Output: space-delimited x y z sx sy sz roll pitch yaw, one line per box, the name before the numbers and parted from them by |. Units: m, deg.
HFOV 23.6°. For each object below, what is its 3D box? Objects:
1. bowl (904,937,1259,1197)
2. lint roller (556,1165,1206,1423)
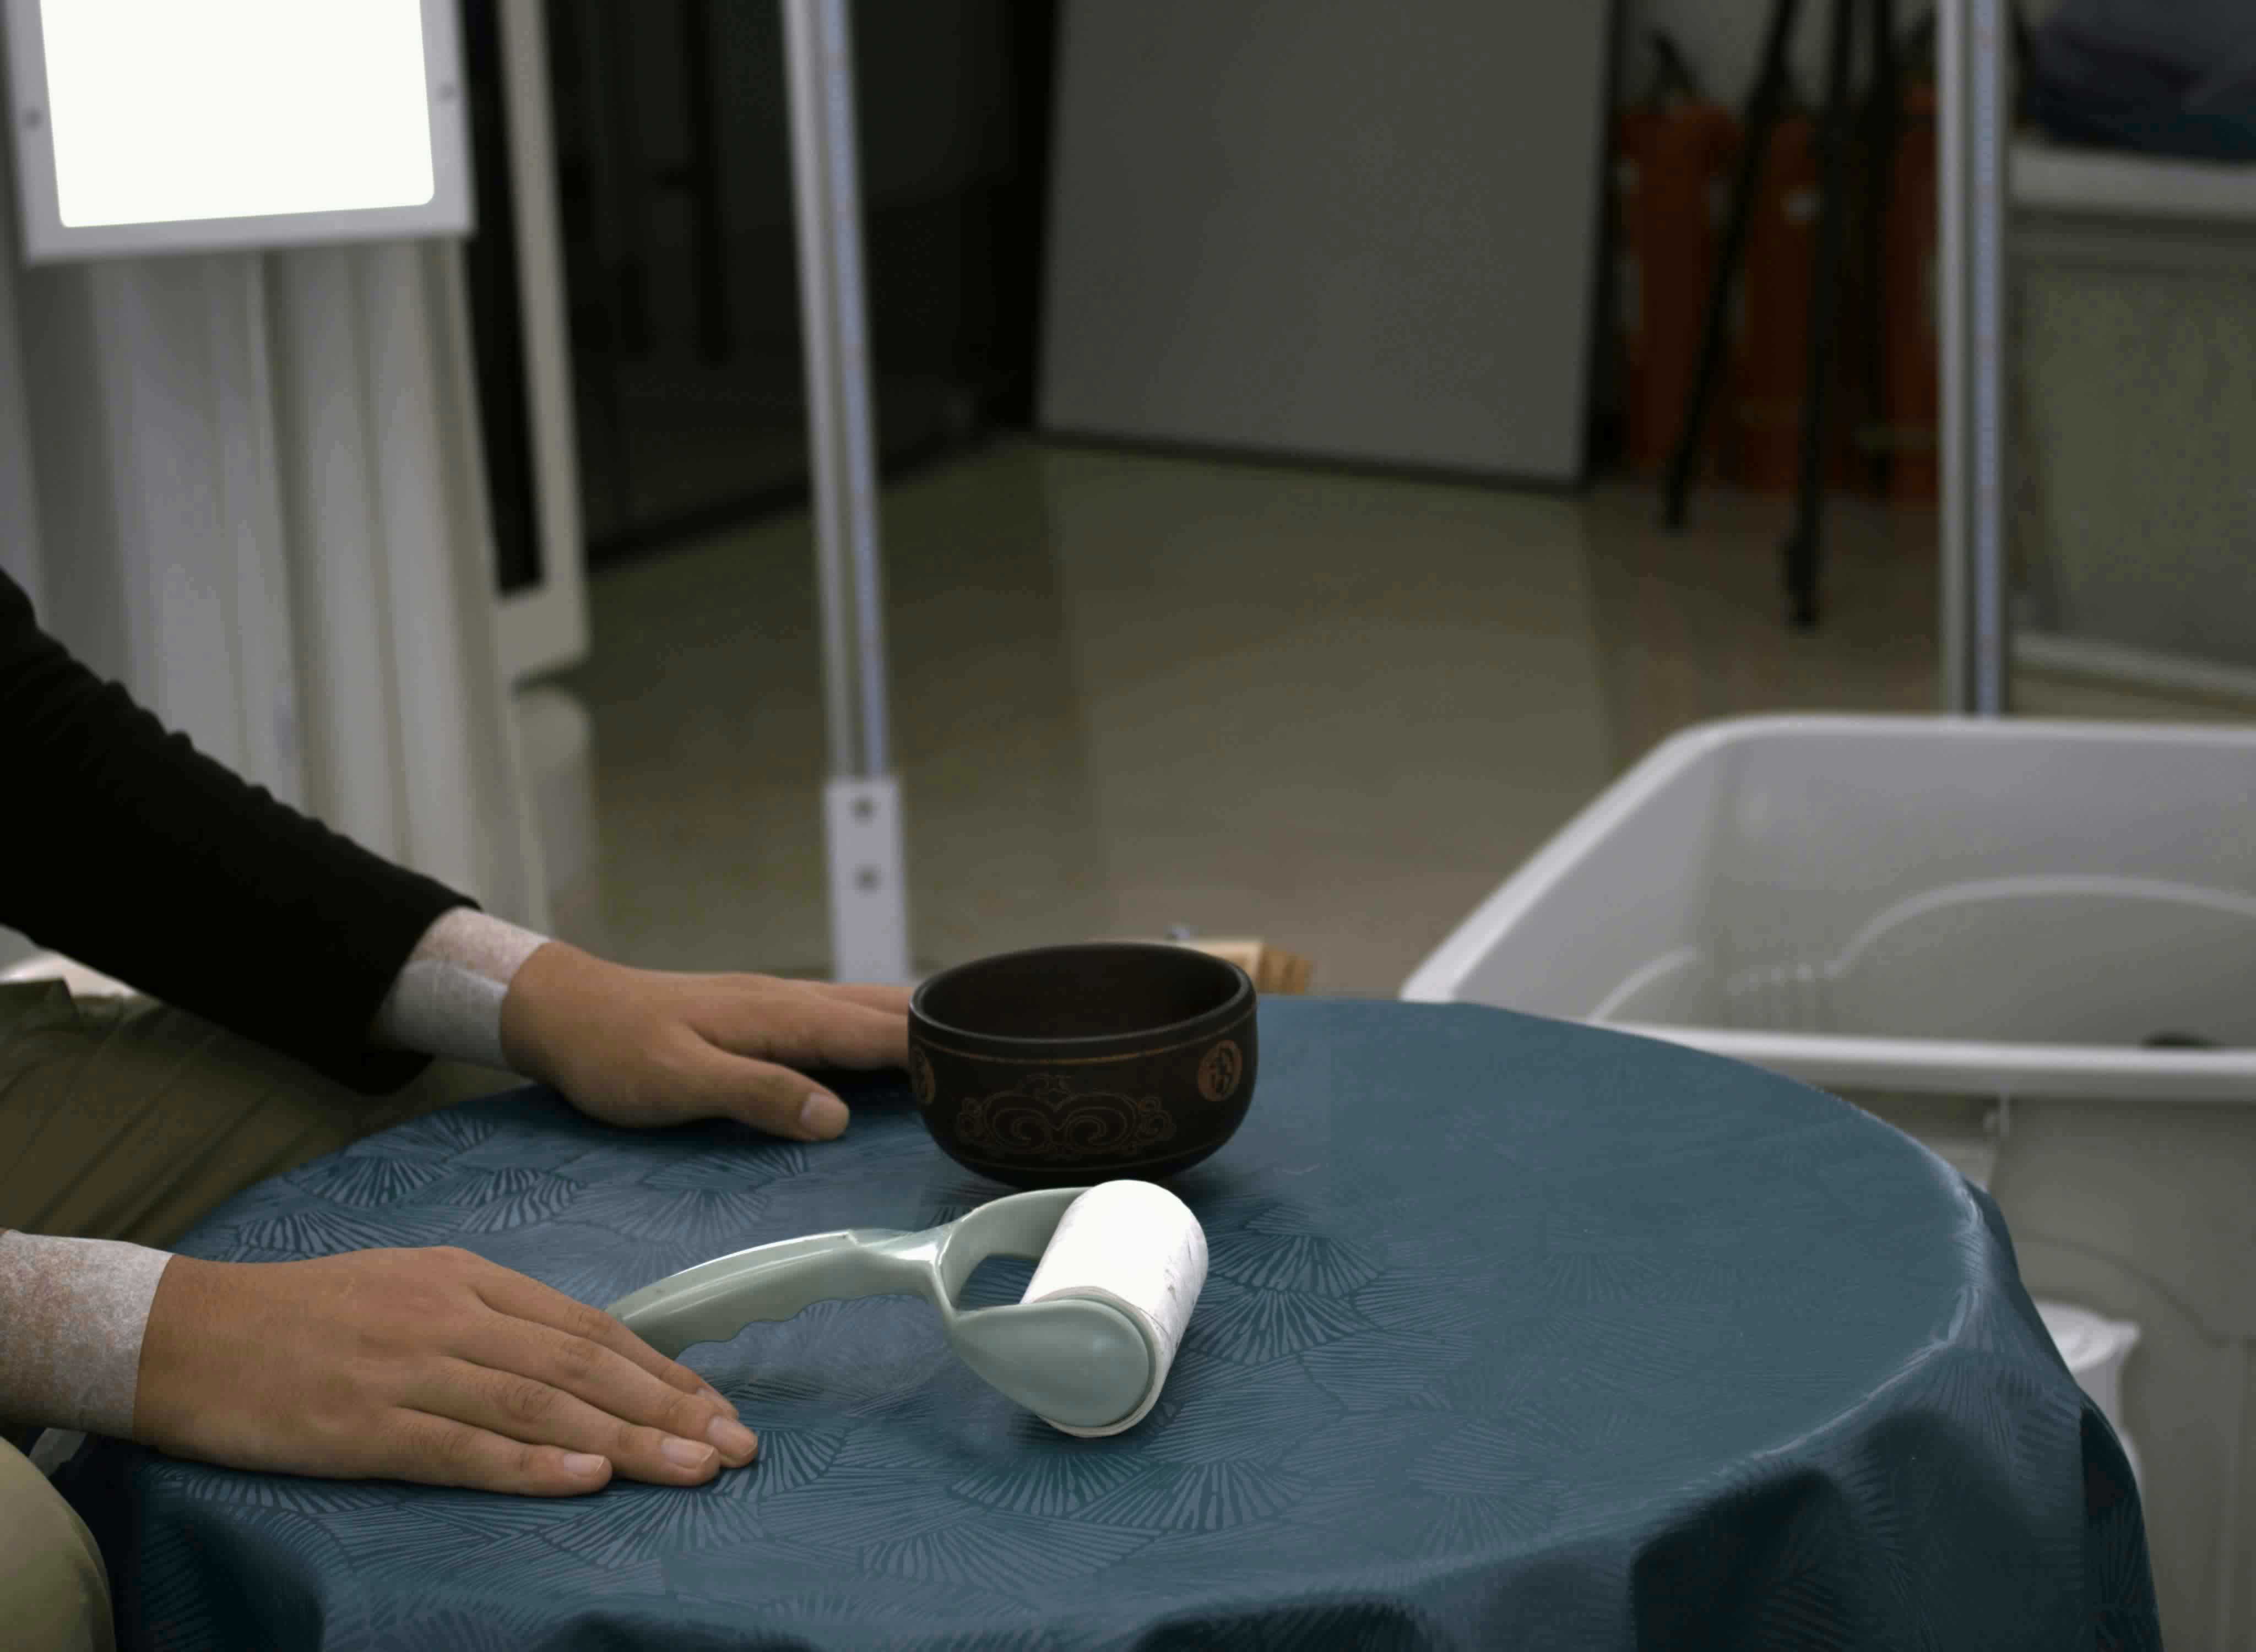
bowl | -0.014 0.085 1.768 0.116 0.070 0.118 -5 14 0
lint roller | -0.076 0.143 1.611 0.196 0.049 0.116 -3 15 10
